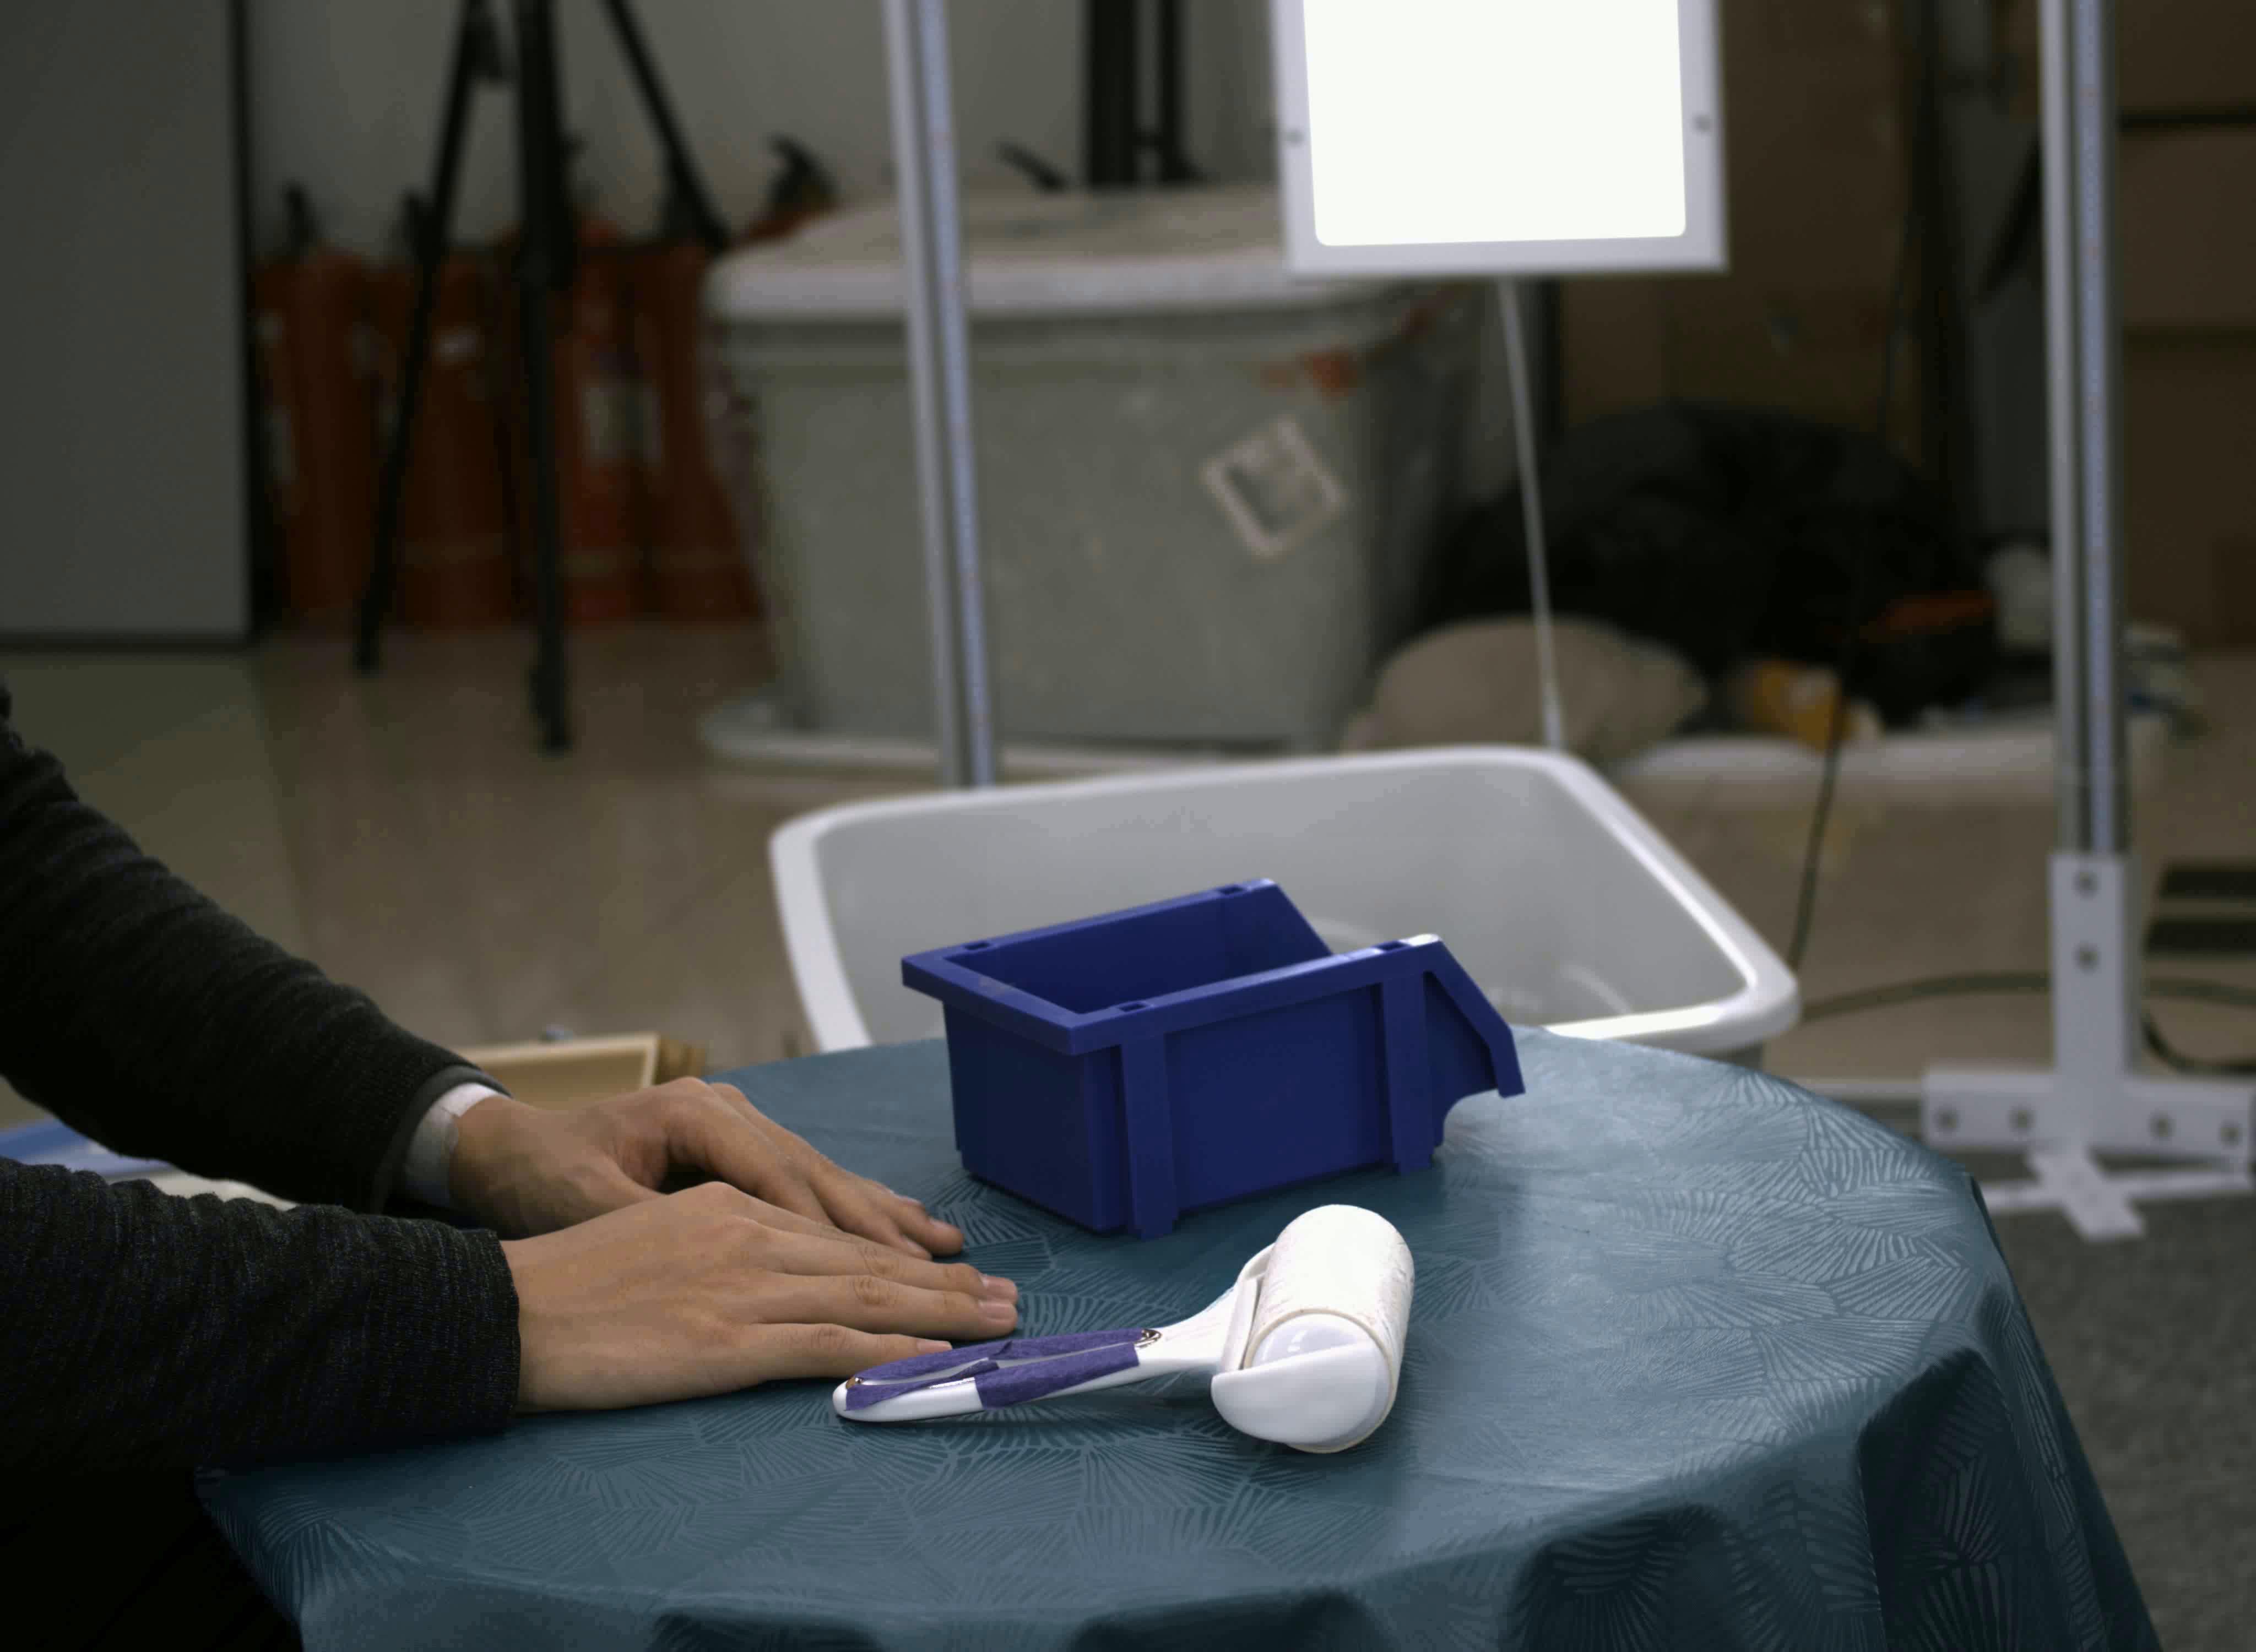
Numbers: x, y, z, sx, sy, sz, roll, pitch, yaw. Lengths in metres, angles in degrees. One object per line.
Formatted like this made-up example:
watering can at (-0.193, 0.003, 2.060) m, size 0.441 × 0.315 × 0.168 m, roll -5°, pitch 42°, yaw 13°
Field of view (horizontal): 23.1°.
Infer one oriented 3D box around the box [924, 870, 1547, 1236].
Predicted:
box at (0.037, 0.075, 1.922) m, size 0.176 × 0.082 × 0.126 m, roll -15°, pitch 16°, yaw -25°

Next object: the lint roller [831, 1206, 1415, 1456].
lint roller at (-0.003, 0.155, 1.686) m, size 0.182 × 0.050 × 0.131 m, roll -1°, pitch 15°, yaw 10°
